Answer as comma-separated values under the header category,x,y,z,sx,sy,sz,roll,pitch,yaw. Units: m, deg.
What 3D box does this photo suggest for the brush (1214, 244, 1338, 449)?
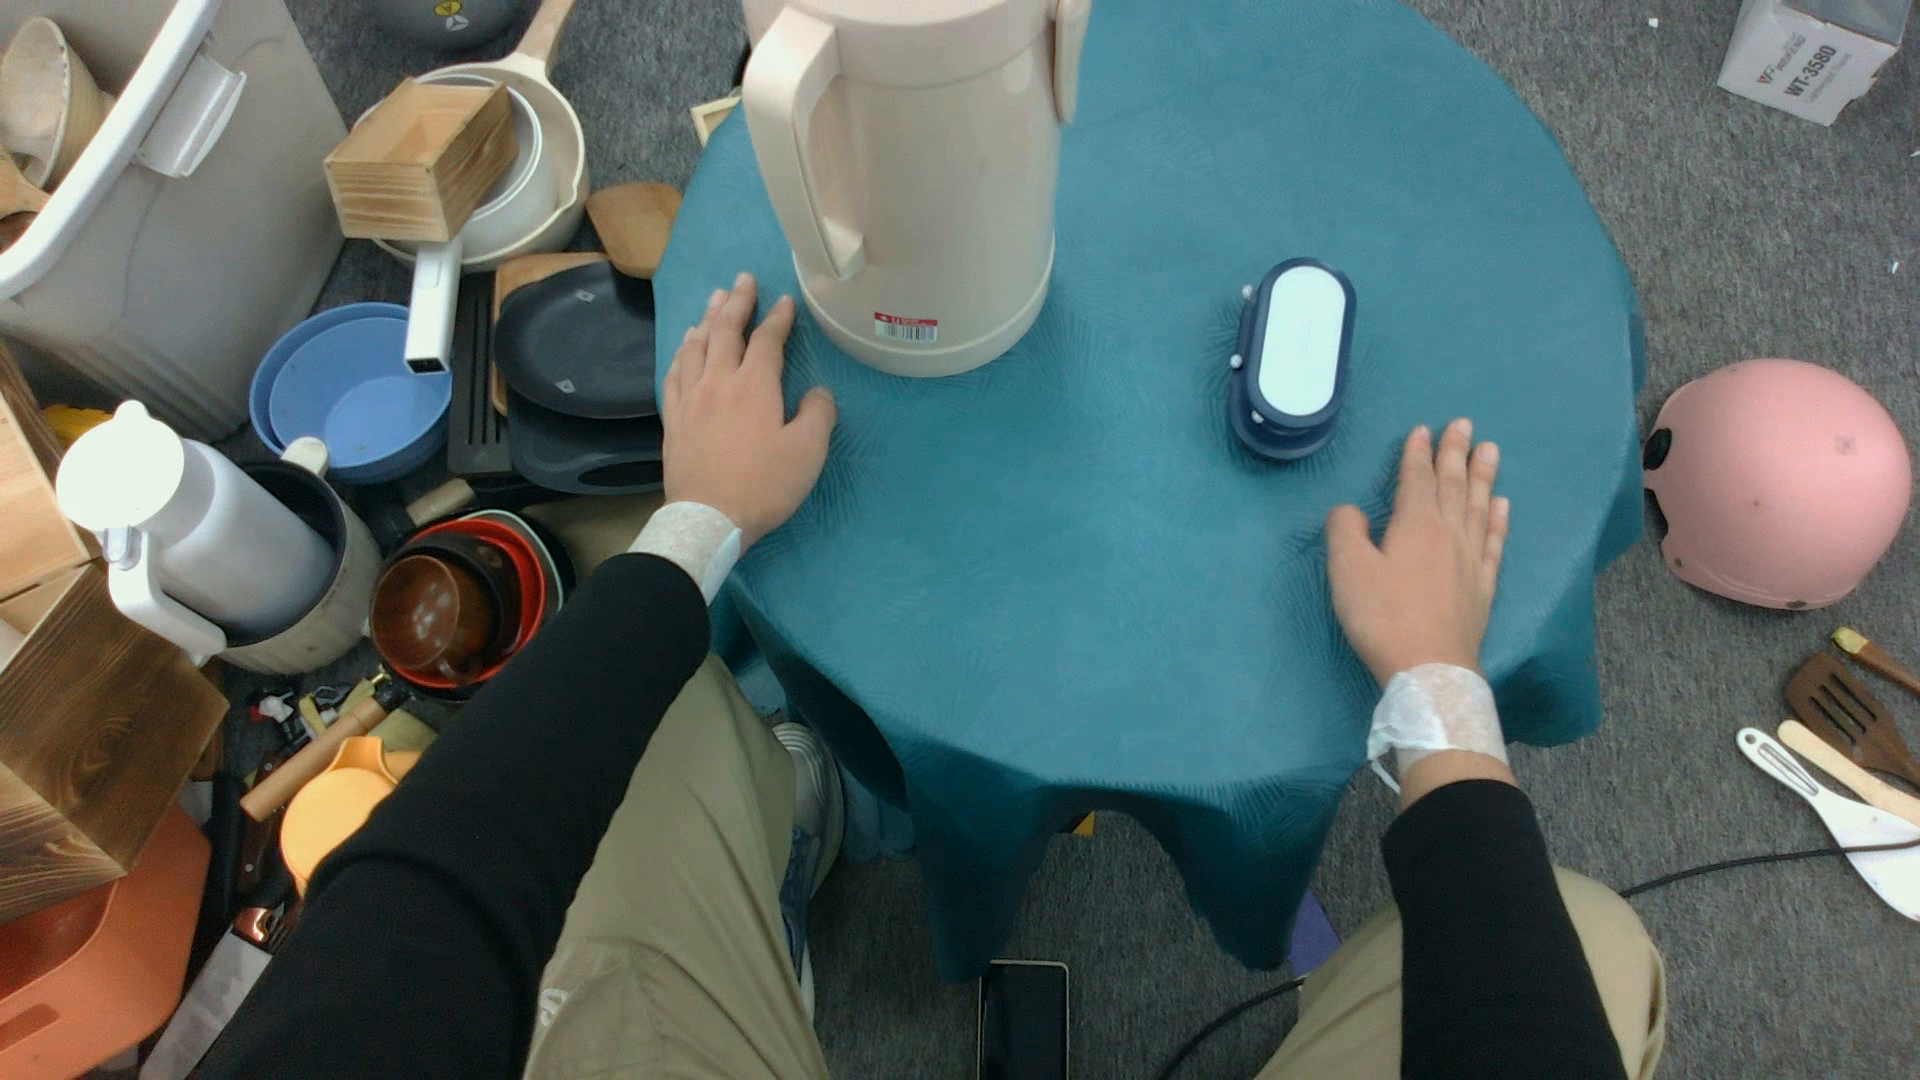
category,x,y,z,sx,sy,sz,roll,pitch,yaw
brush,0.186,-0.112,0.810,0.068,0.061,0.122,12,68,7

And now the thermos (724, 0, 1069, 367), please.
category,x,y,z,sx,sy,sz,roll,pitch,yaw
thermos,-0.042,-0.236,0.673,0.175,0.405,0.208,26,70,8
